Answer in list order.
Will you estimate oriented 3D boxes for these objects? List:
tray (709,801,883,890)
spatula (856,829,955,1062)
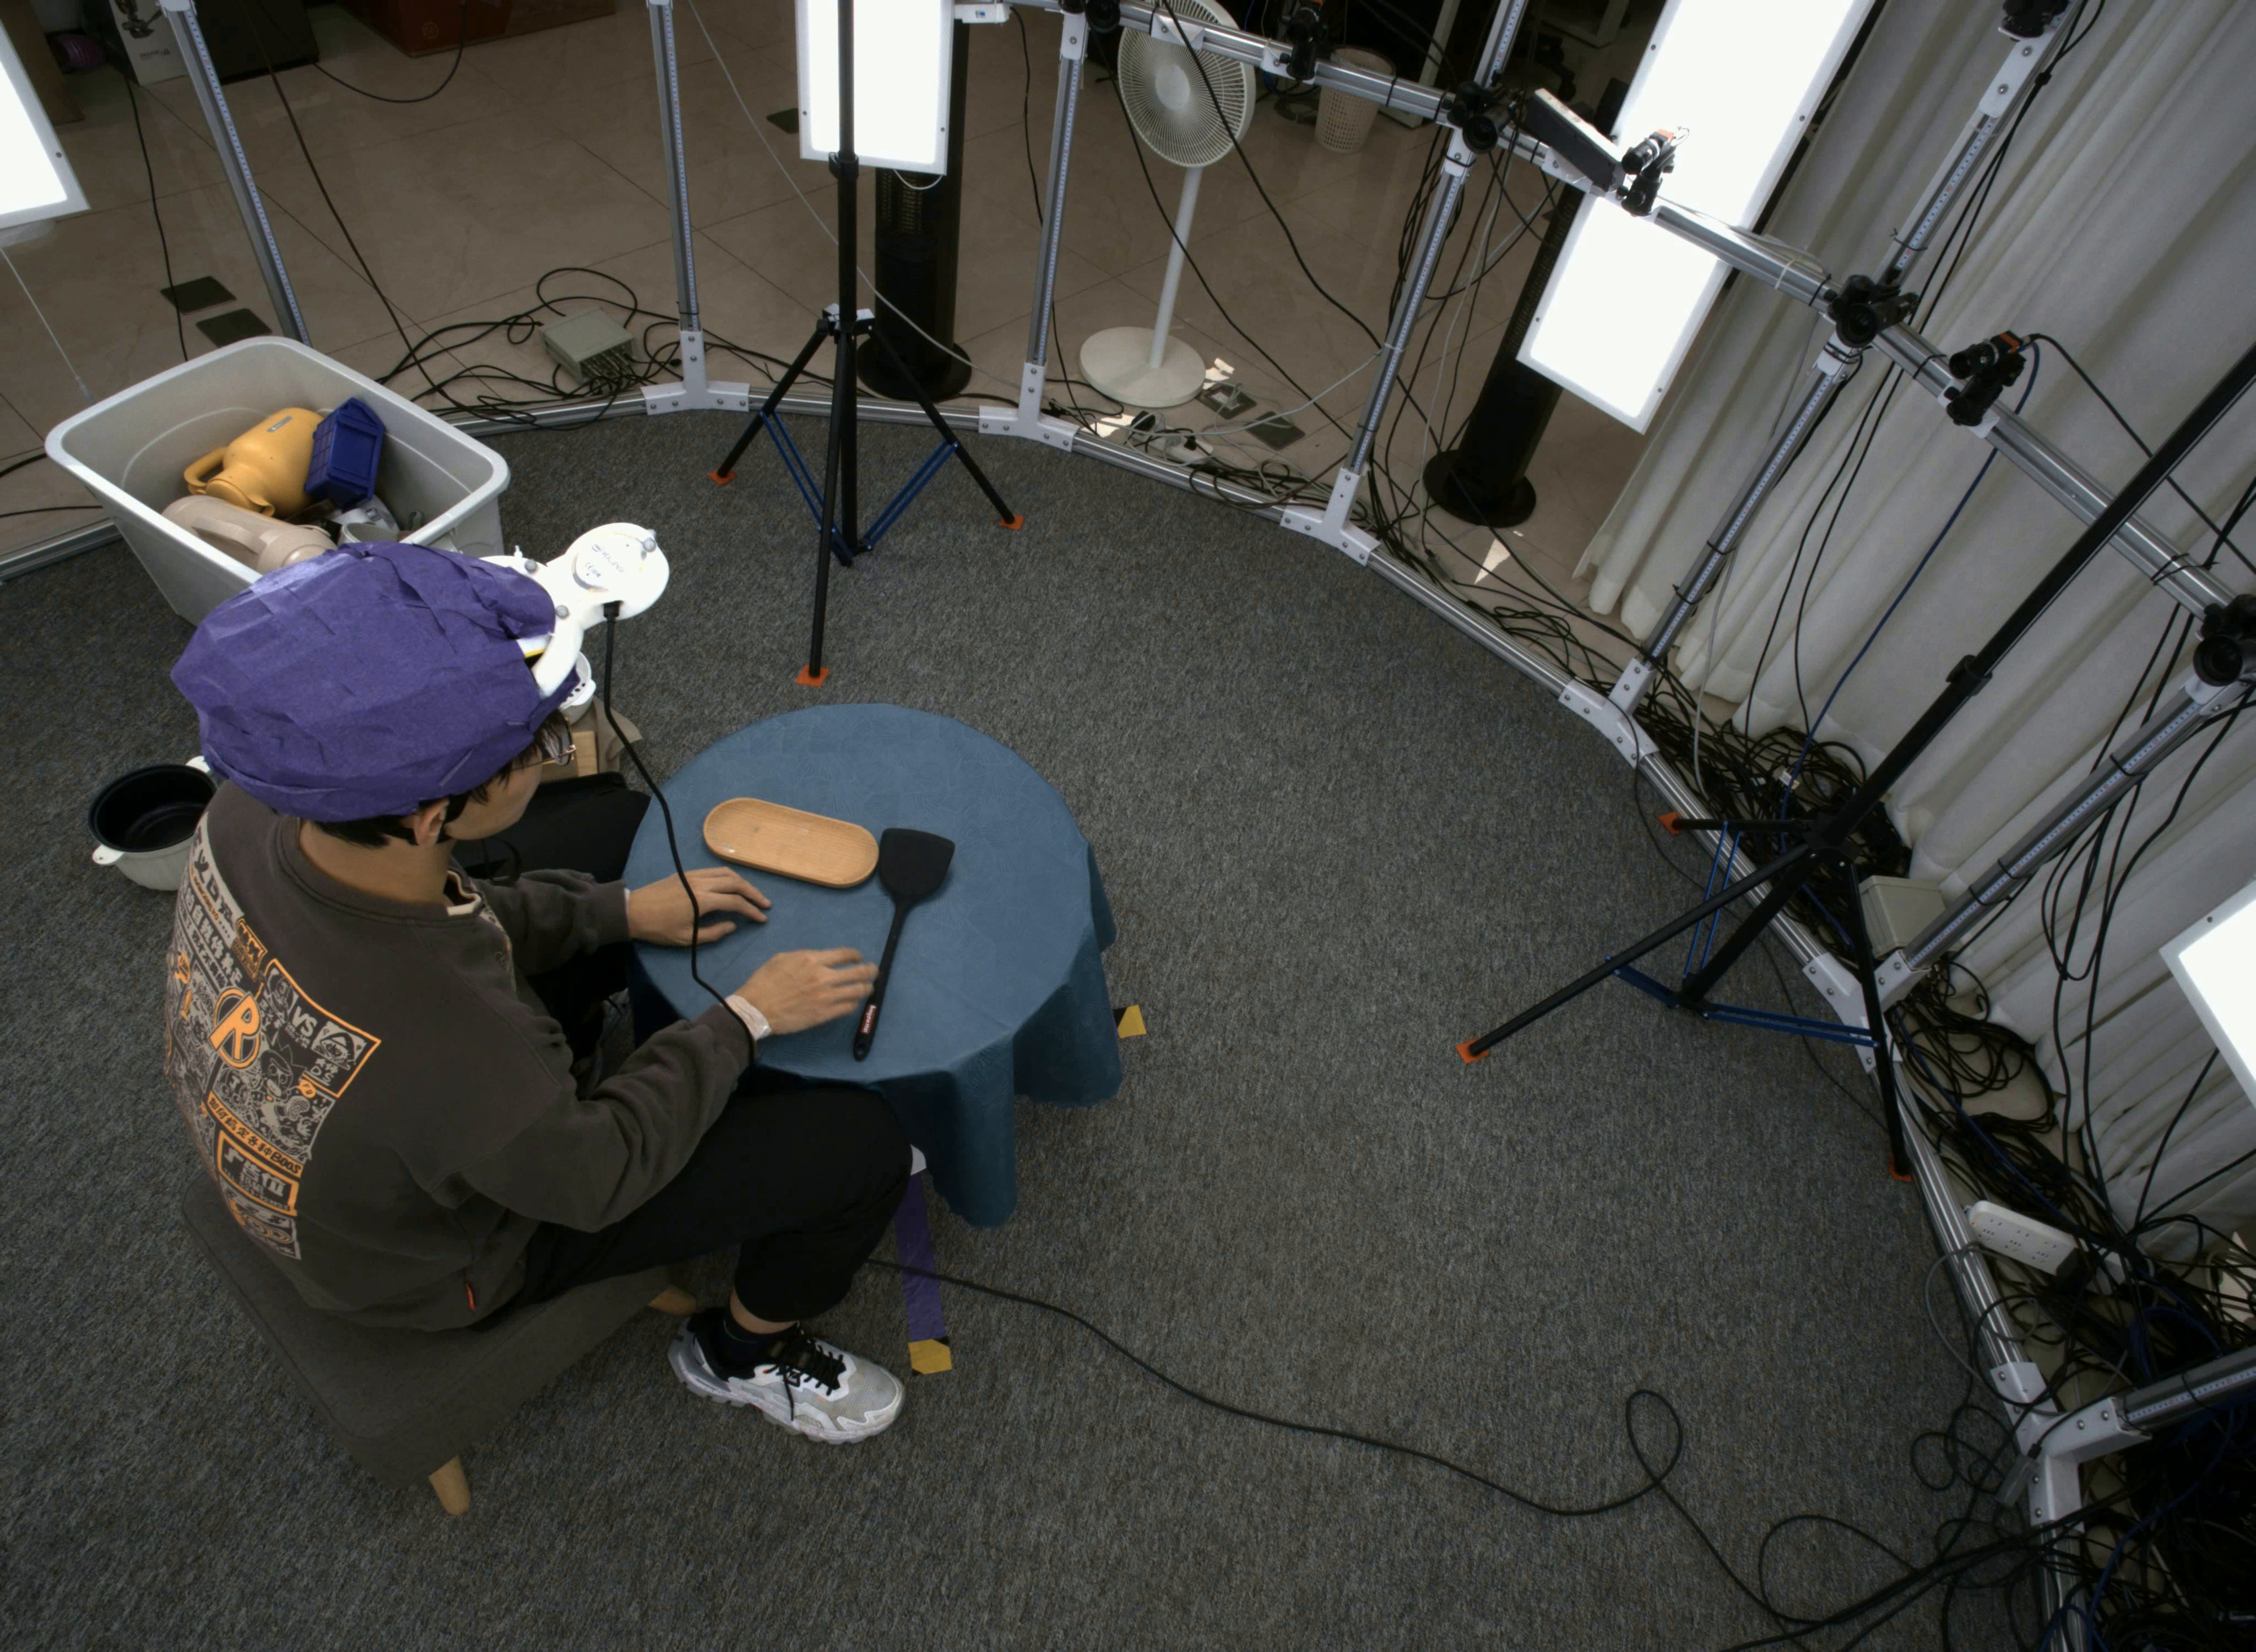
[{"bbox_3d":[-0.437,0.025,1.707,0.230,0.021,0.100,15,53,-4],"label":"tray"},{"bbox_3d":[-0.297,0.145,1.640,0.099,0.041,0.321,12,52,-3],"label":"spatula"}]
